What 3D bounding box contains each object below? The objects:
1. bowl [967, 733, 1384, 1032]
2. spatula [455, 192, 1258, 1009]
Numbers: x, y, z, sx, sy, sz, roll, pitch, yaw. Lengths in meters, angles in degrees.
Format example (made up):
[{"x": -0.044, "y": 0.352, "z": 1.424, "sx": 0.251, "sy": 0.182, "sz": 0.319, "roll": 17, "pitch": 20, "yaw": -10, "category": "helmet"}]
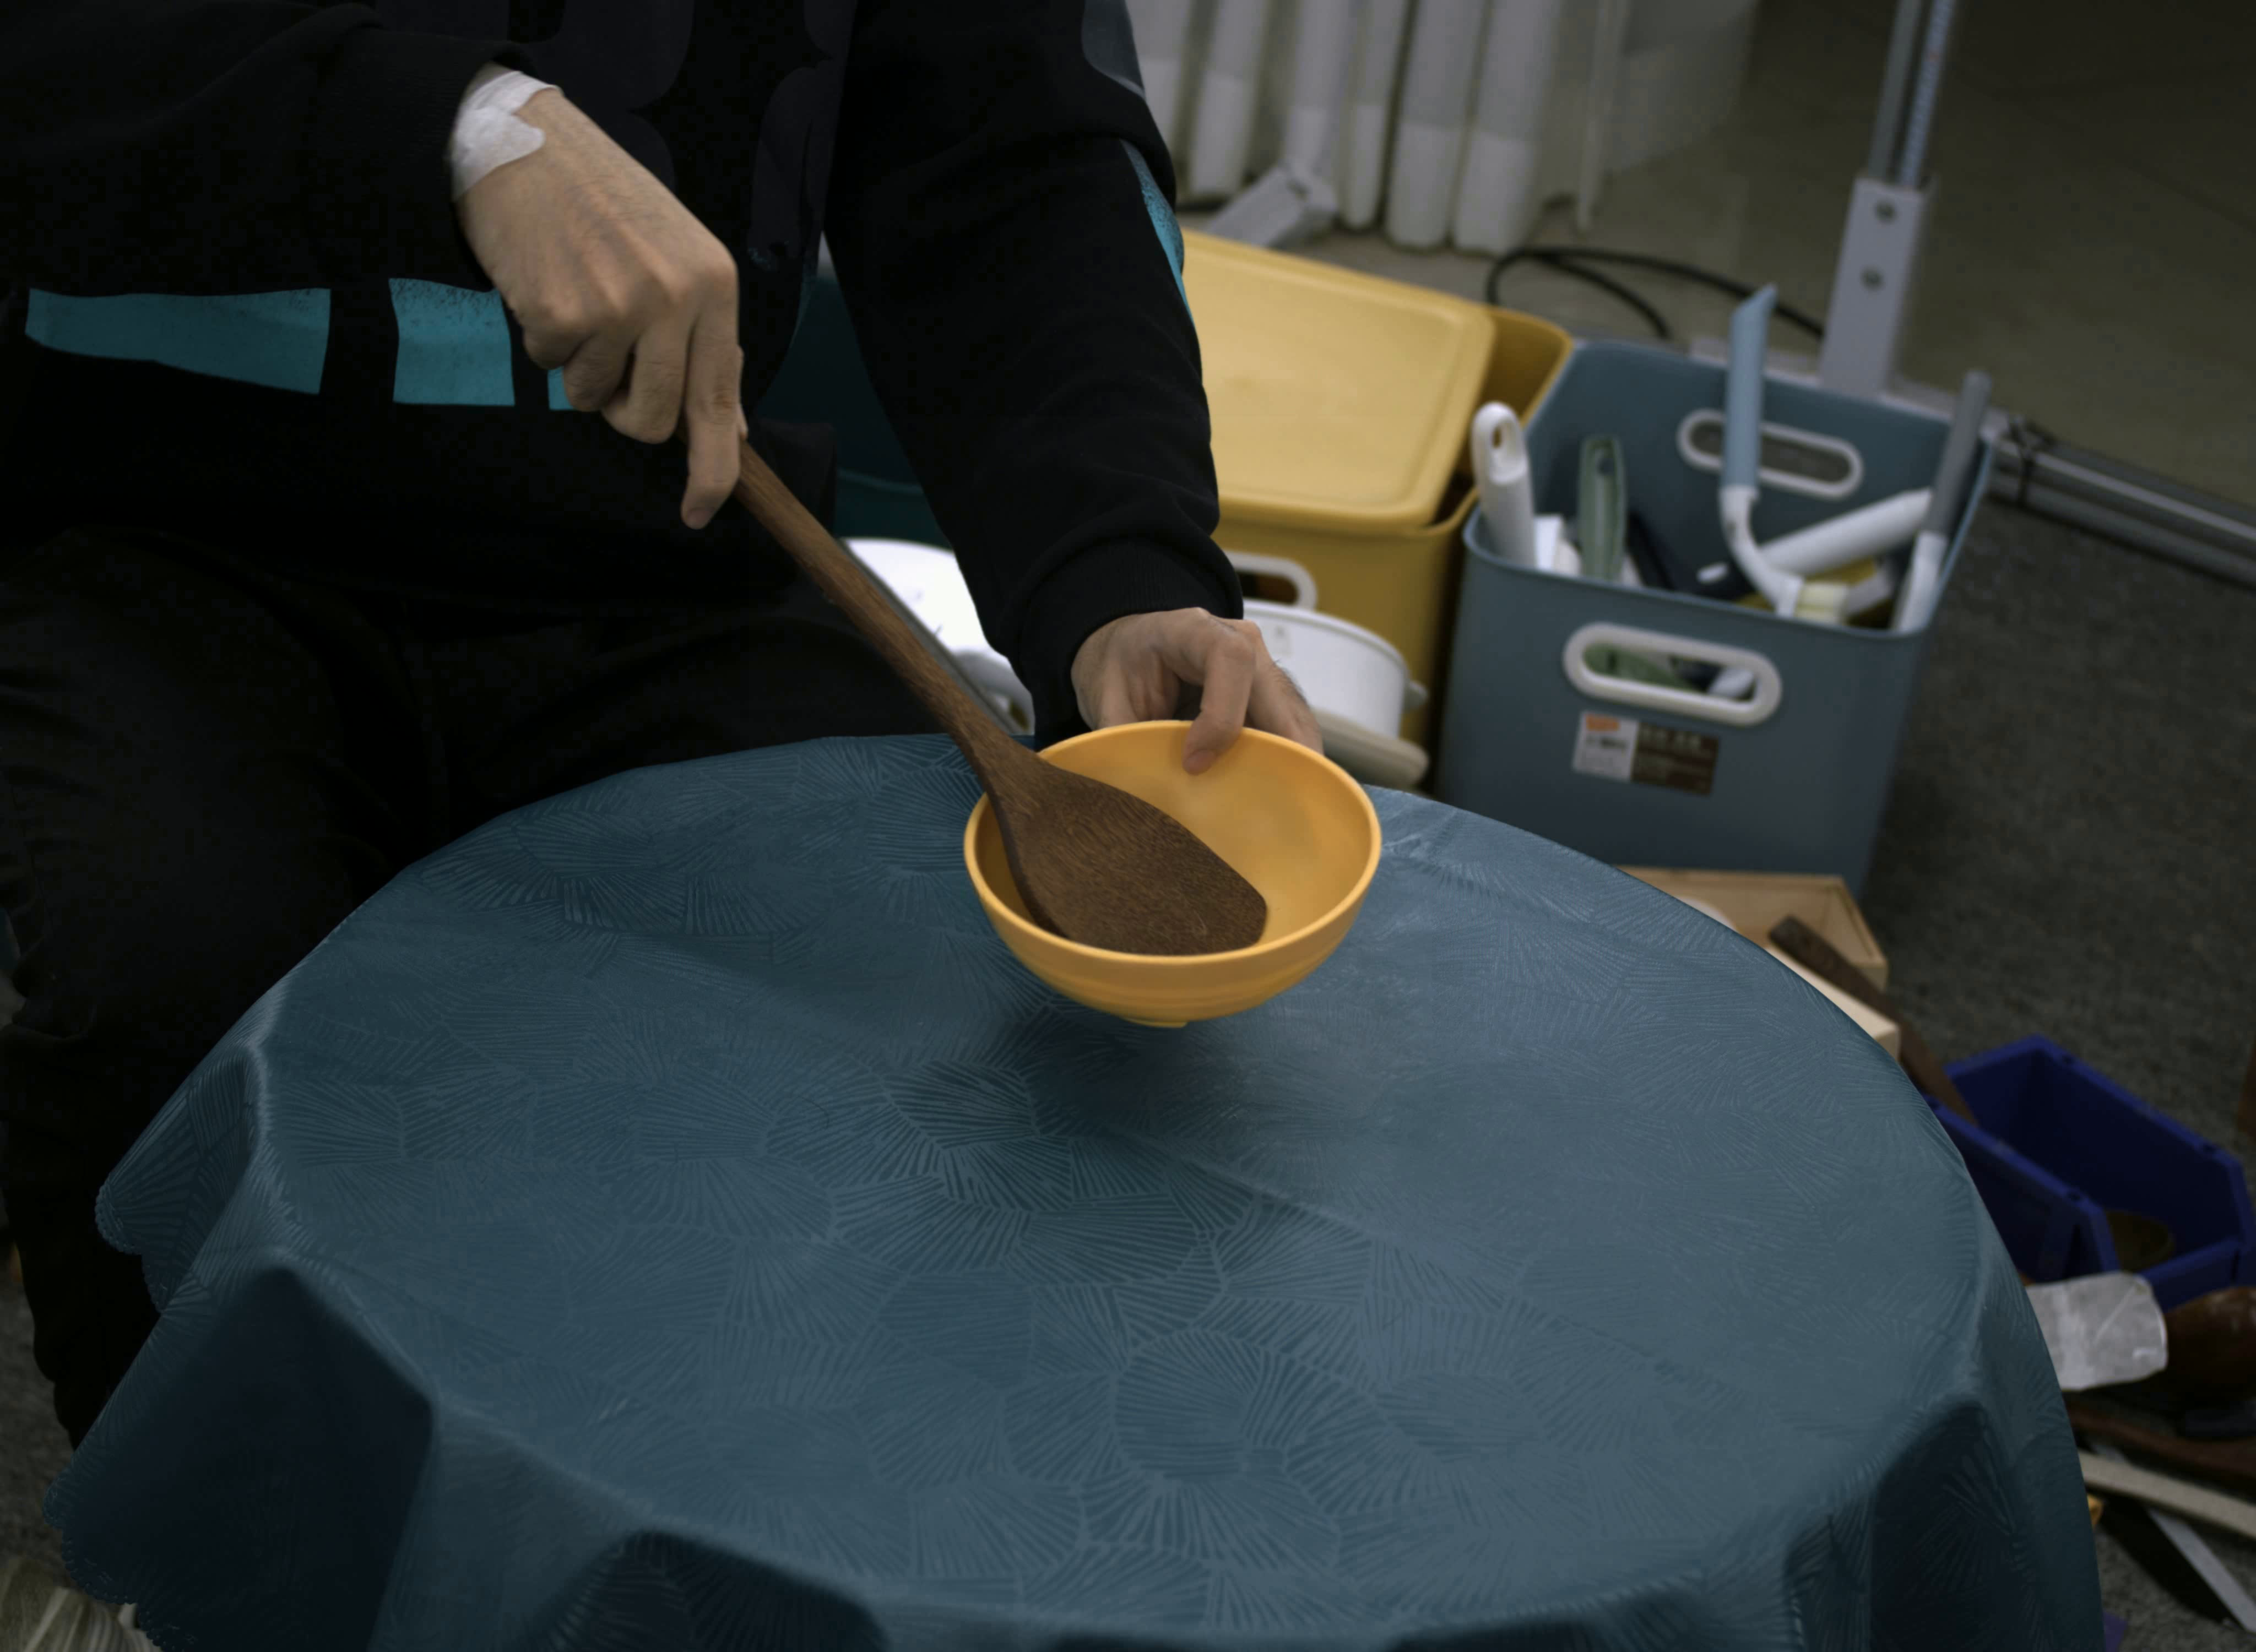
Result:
[{"x": 0.016, "y": 0.029, "z": 1.854, "sx": 0.145, "sy": 0.060, "sz": 0.146, "roll": 0, "pitch": 32, "yaw": 0, "category": "bowl"}, {"x": -0.100, "y": -0.084, "z": 1.860, "sx": 0.386, "sy": 0.016, "sz": 0.096, "roll": 47, "pitch": 37, "yaw": 3, "category": "spatula"}]
